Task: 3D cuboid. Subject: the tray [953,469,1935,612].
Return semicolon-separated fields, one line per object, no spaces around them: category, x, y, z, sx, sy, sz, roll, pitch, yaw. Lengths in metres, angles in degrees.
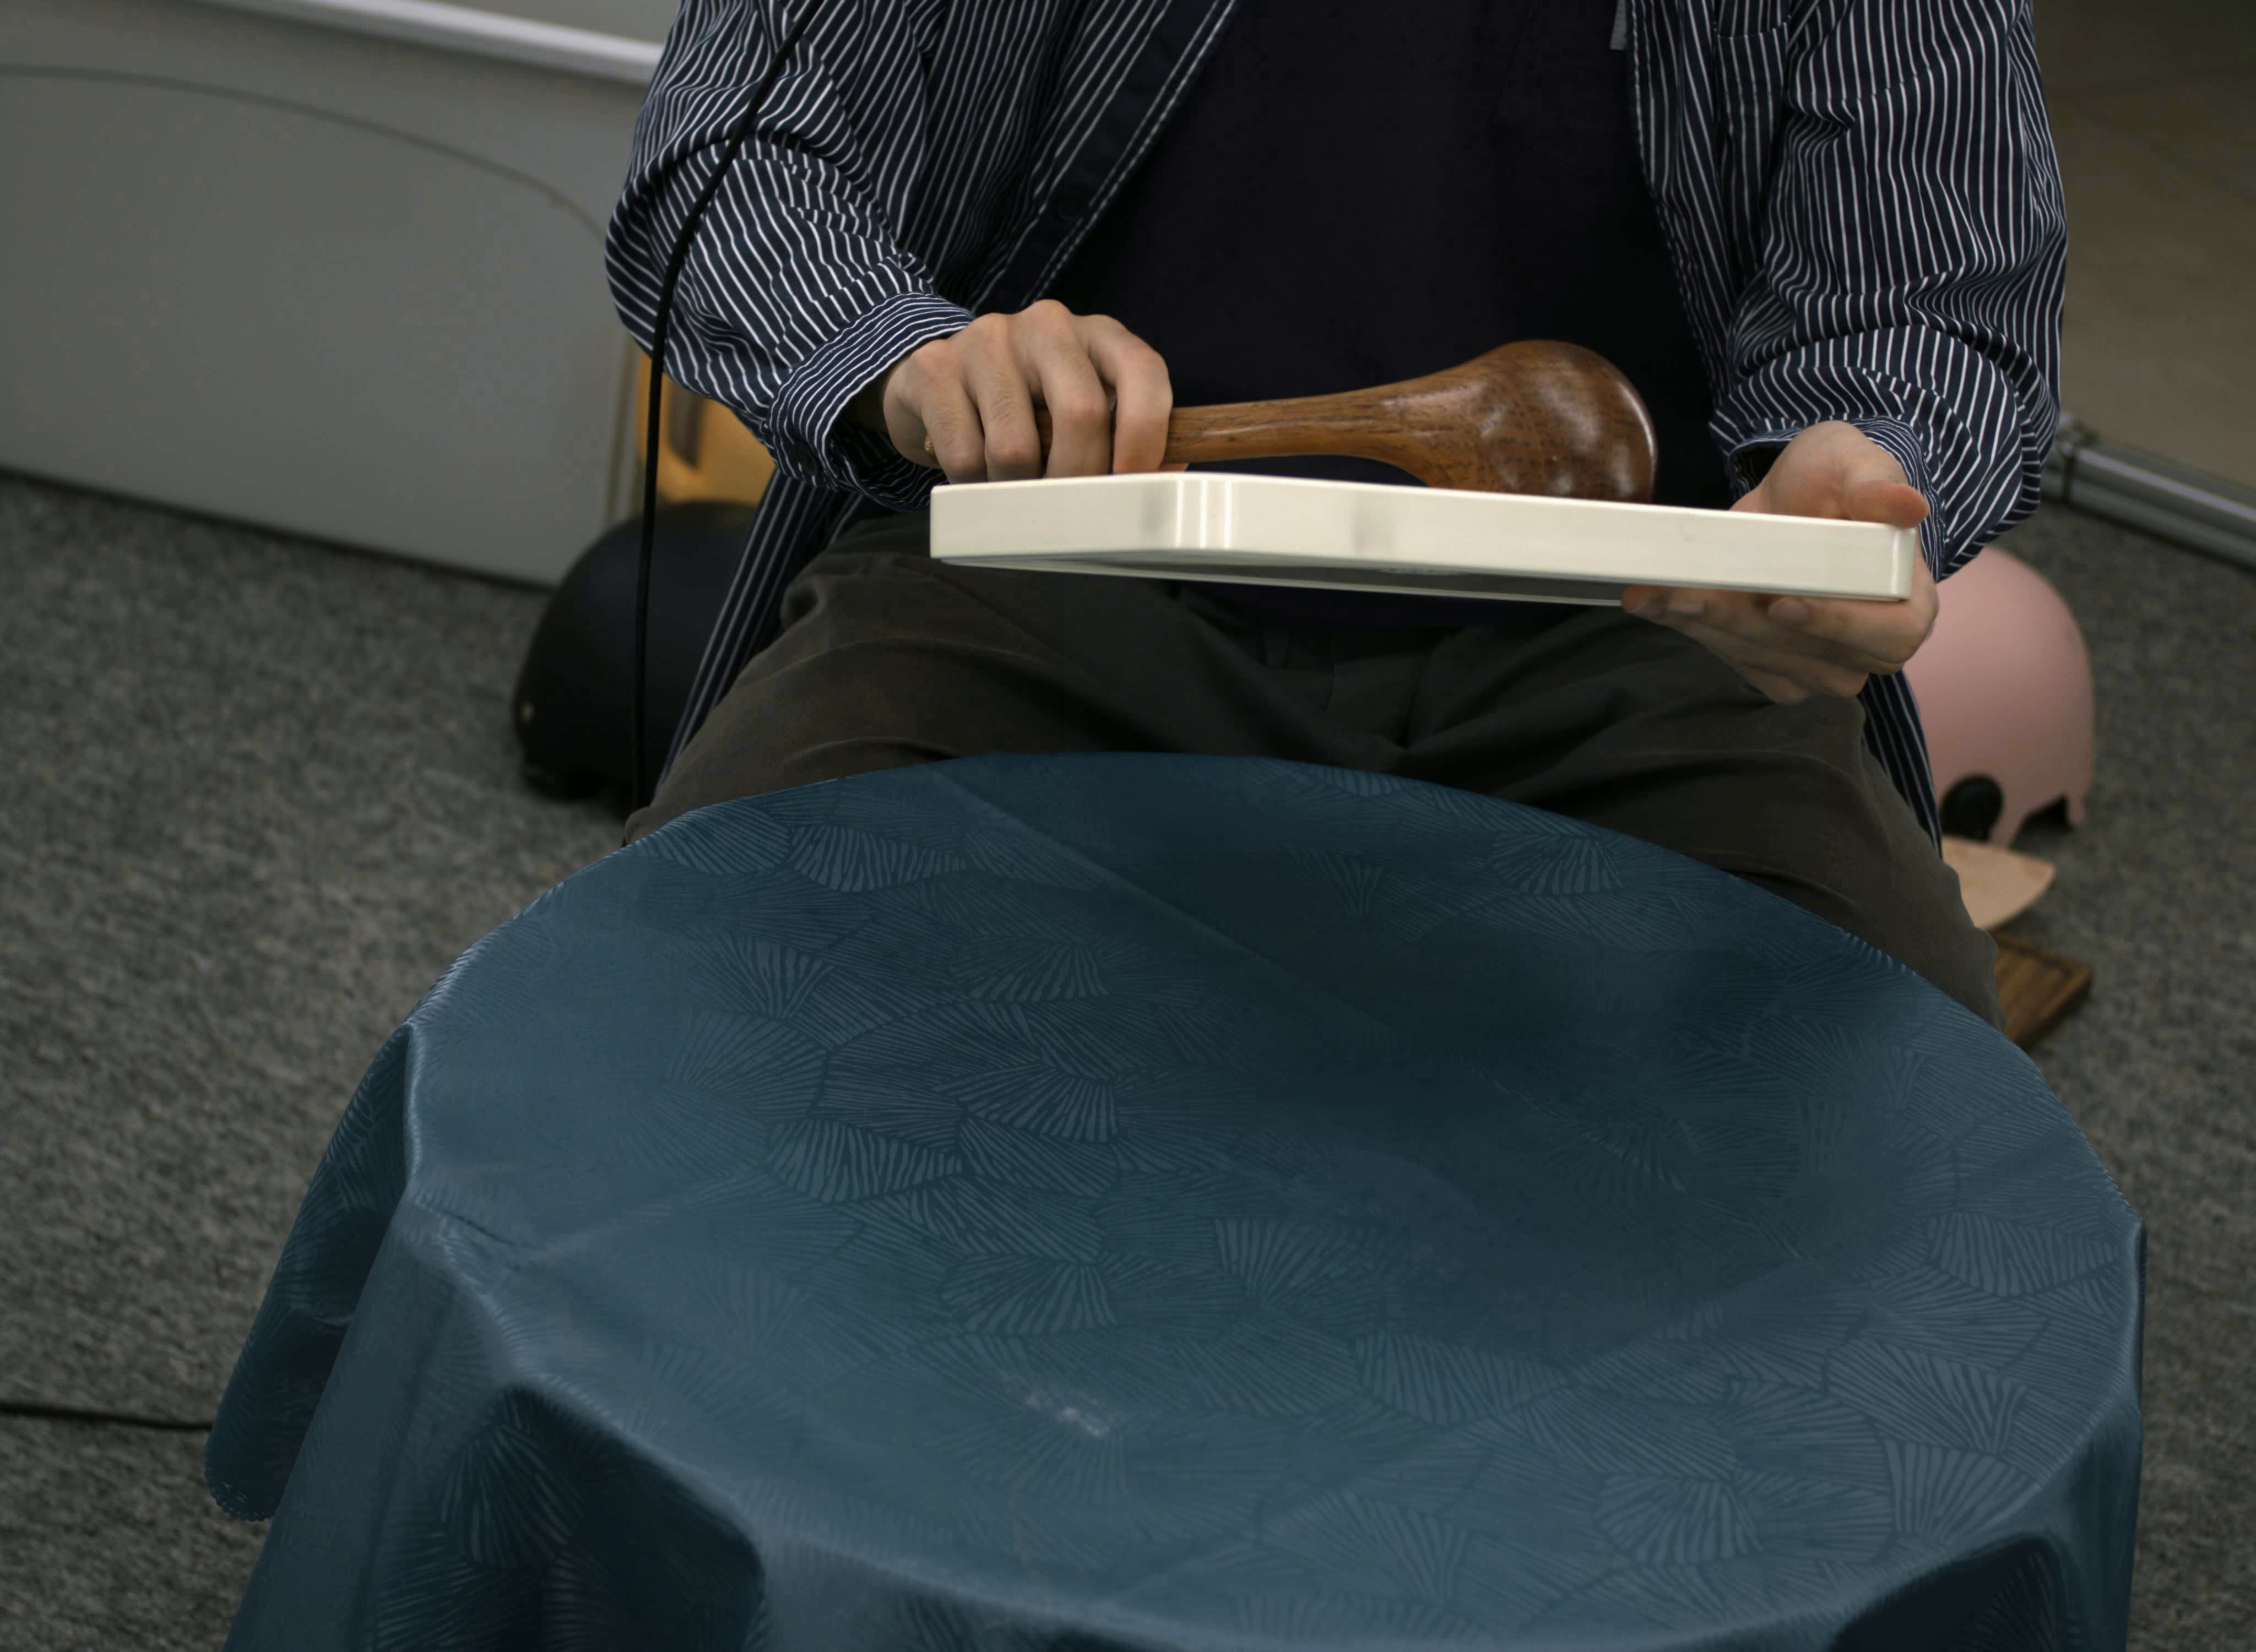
tray;0.108;-0.096;1.839;0.298;0.027;0.192;3;0;-29

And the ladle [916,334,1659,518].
ladle;0.056;-0.127;1.878;0.275;0.076;0.082;-3;59;35
